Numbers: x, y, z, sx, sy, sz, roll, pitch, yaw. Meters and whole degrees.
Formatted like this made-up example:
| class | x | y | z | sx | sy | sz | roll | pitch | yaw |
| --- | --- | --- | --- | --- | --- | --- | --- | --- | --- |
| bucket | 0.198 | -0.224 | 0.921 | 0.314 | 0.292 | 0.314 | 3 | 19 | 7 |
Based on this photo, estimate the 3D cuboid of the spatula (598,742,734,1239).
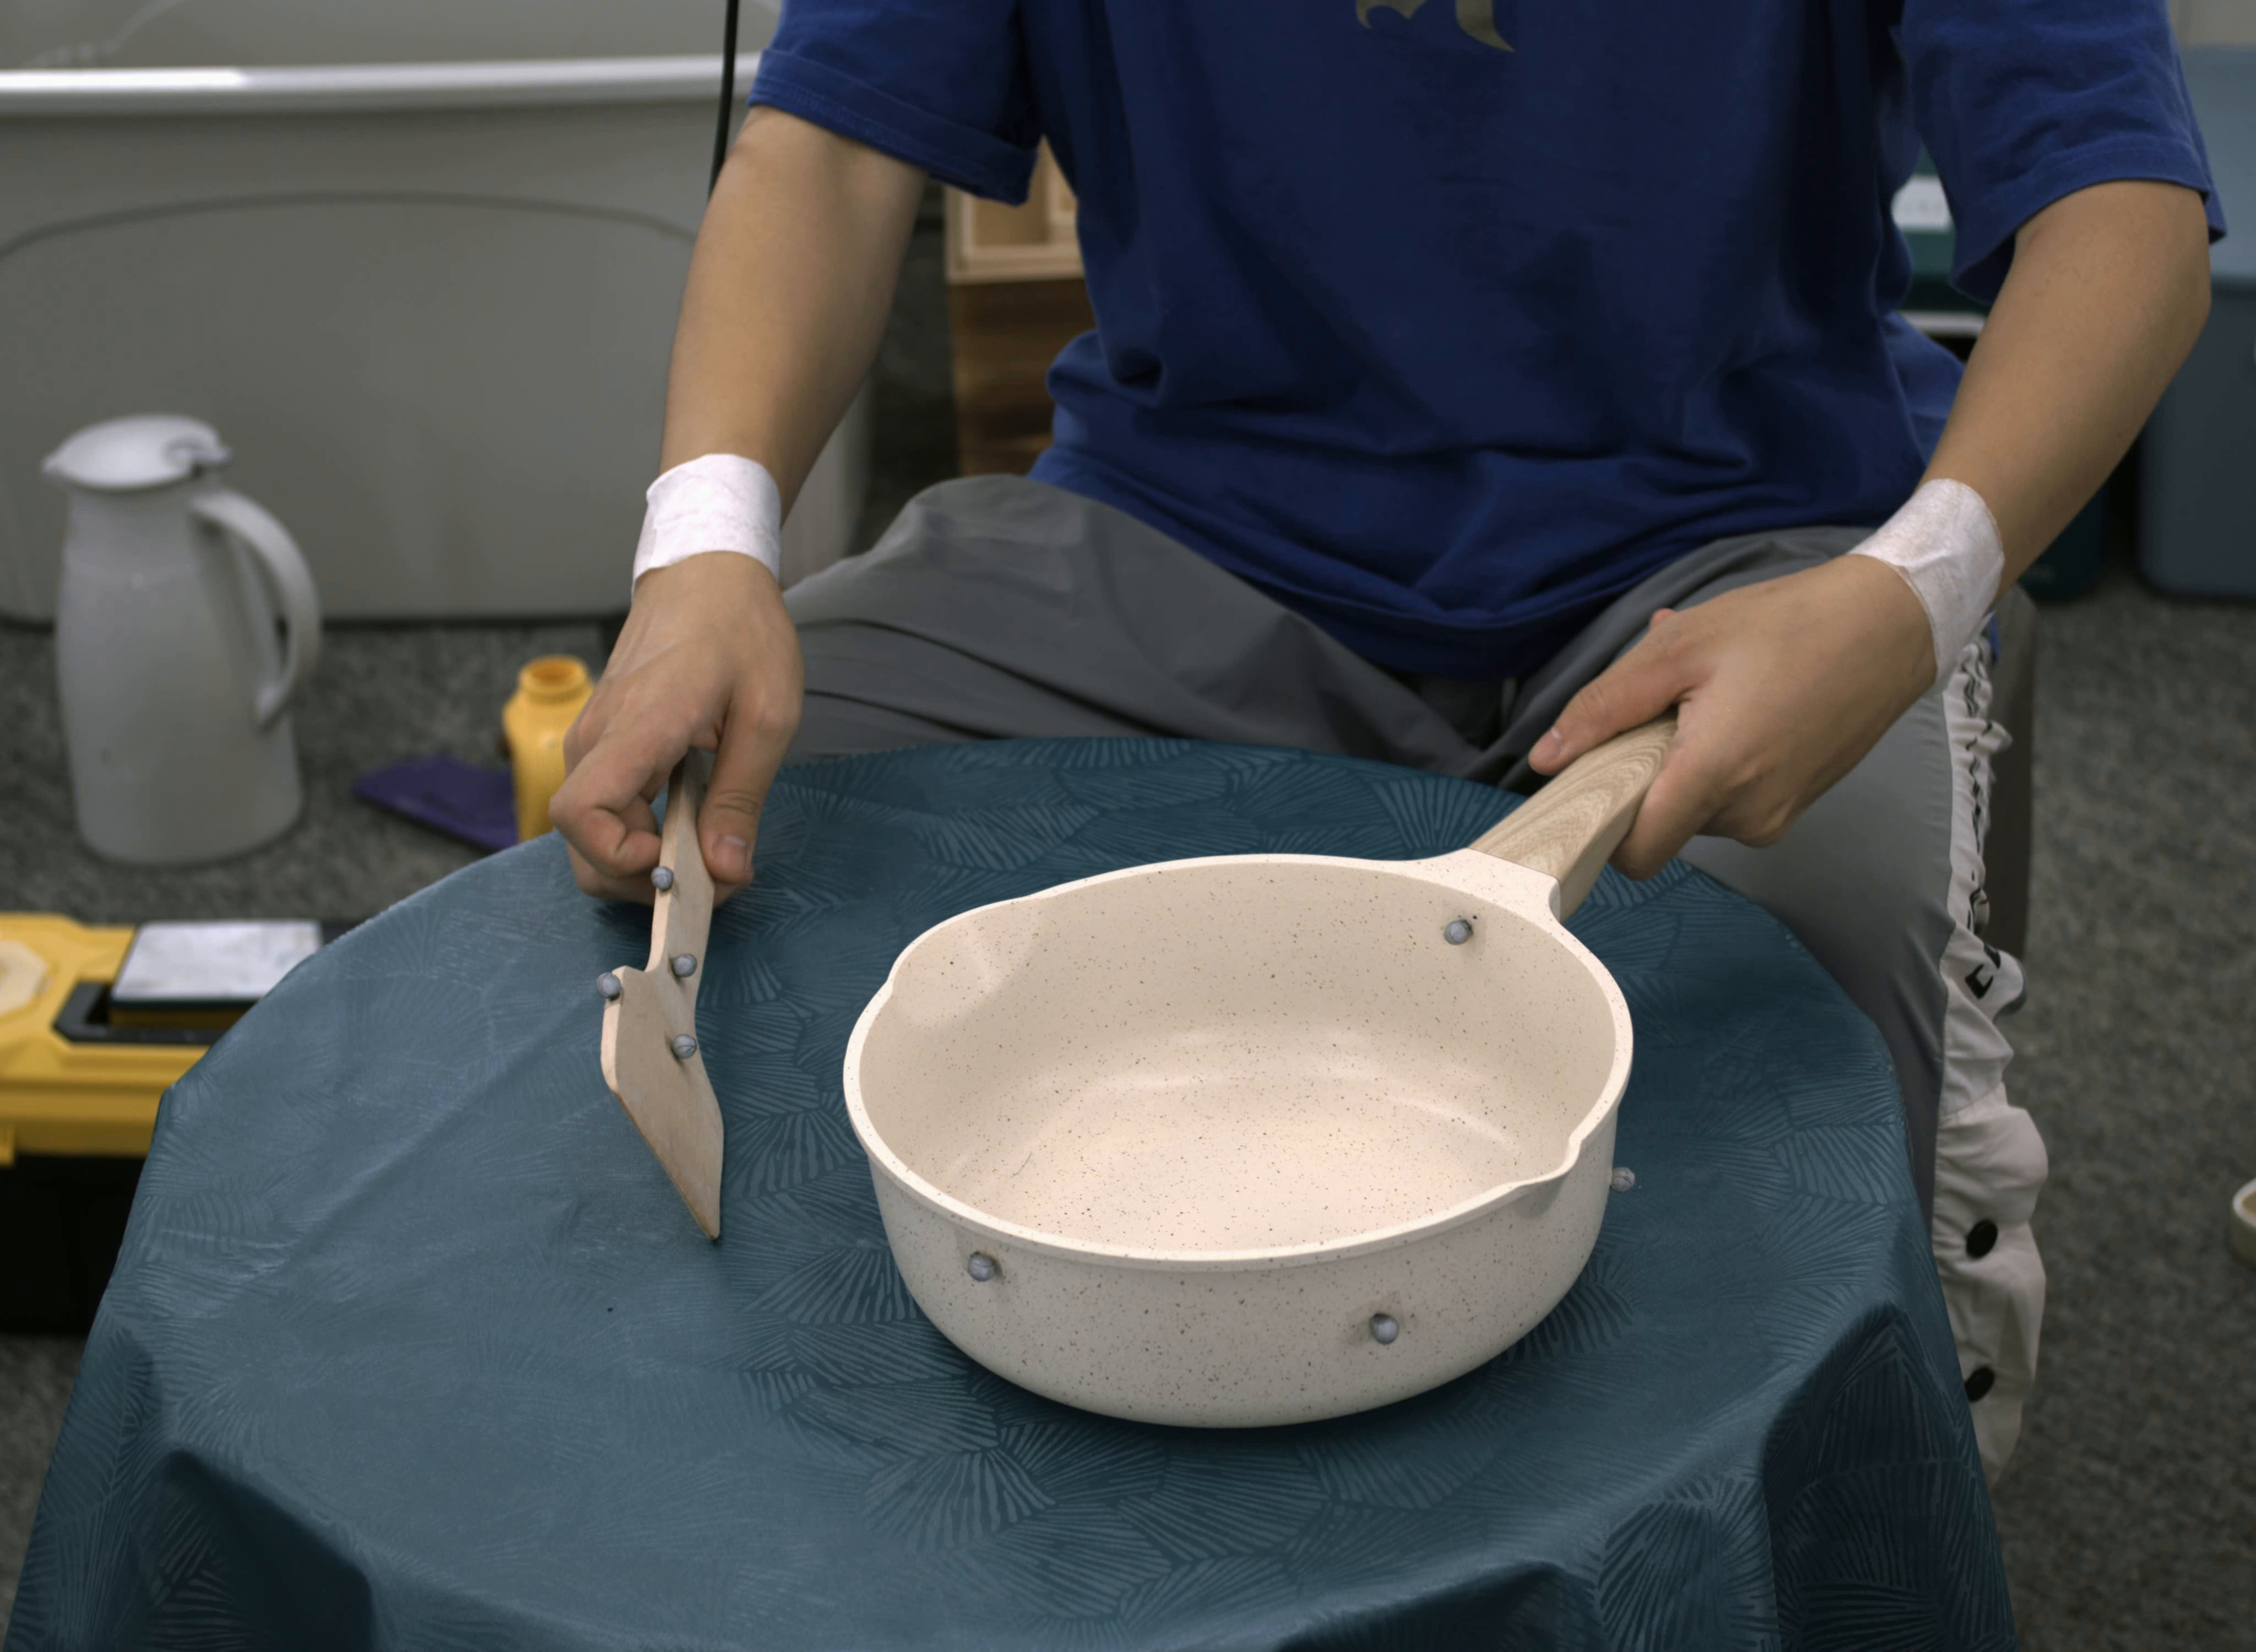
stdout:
| class | x | y | z | sx | sy | sz | roll | pitch | yaw |
| --- | --- | --- | --- | --- | --- | --- | --- | --- | --- |
| spatula | -0.156 | 0.044 | 1.960 | 0.010 | 0.072 | 0.297 | -26 | 24 | 12 |

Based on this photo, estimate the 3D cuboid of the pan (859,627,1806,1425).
| class | x | y | z | sx | sy | sz | roll | pitch | yaw |
| --- | --- | --- | --- | --- | --- | --- | --- | --- | --- |
| pan | 0.100 | 0.062 | 1.855 | 0.262 | 0.101 | 0.441 | 16 | 33 | 36 |
